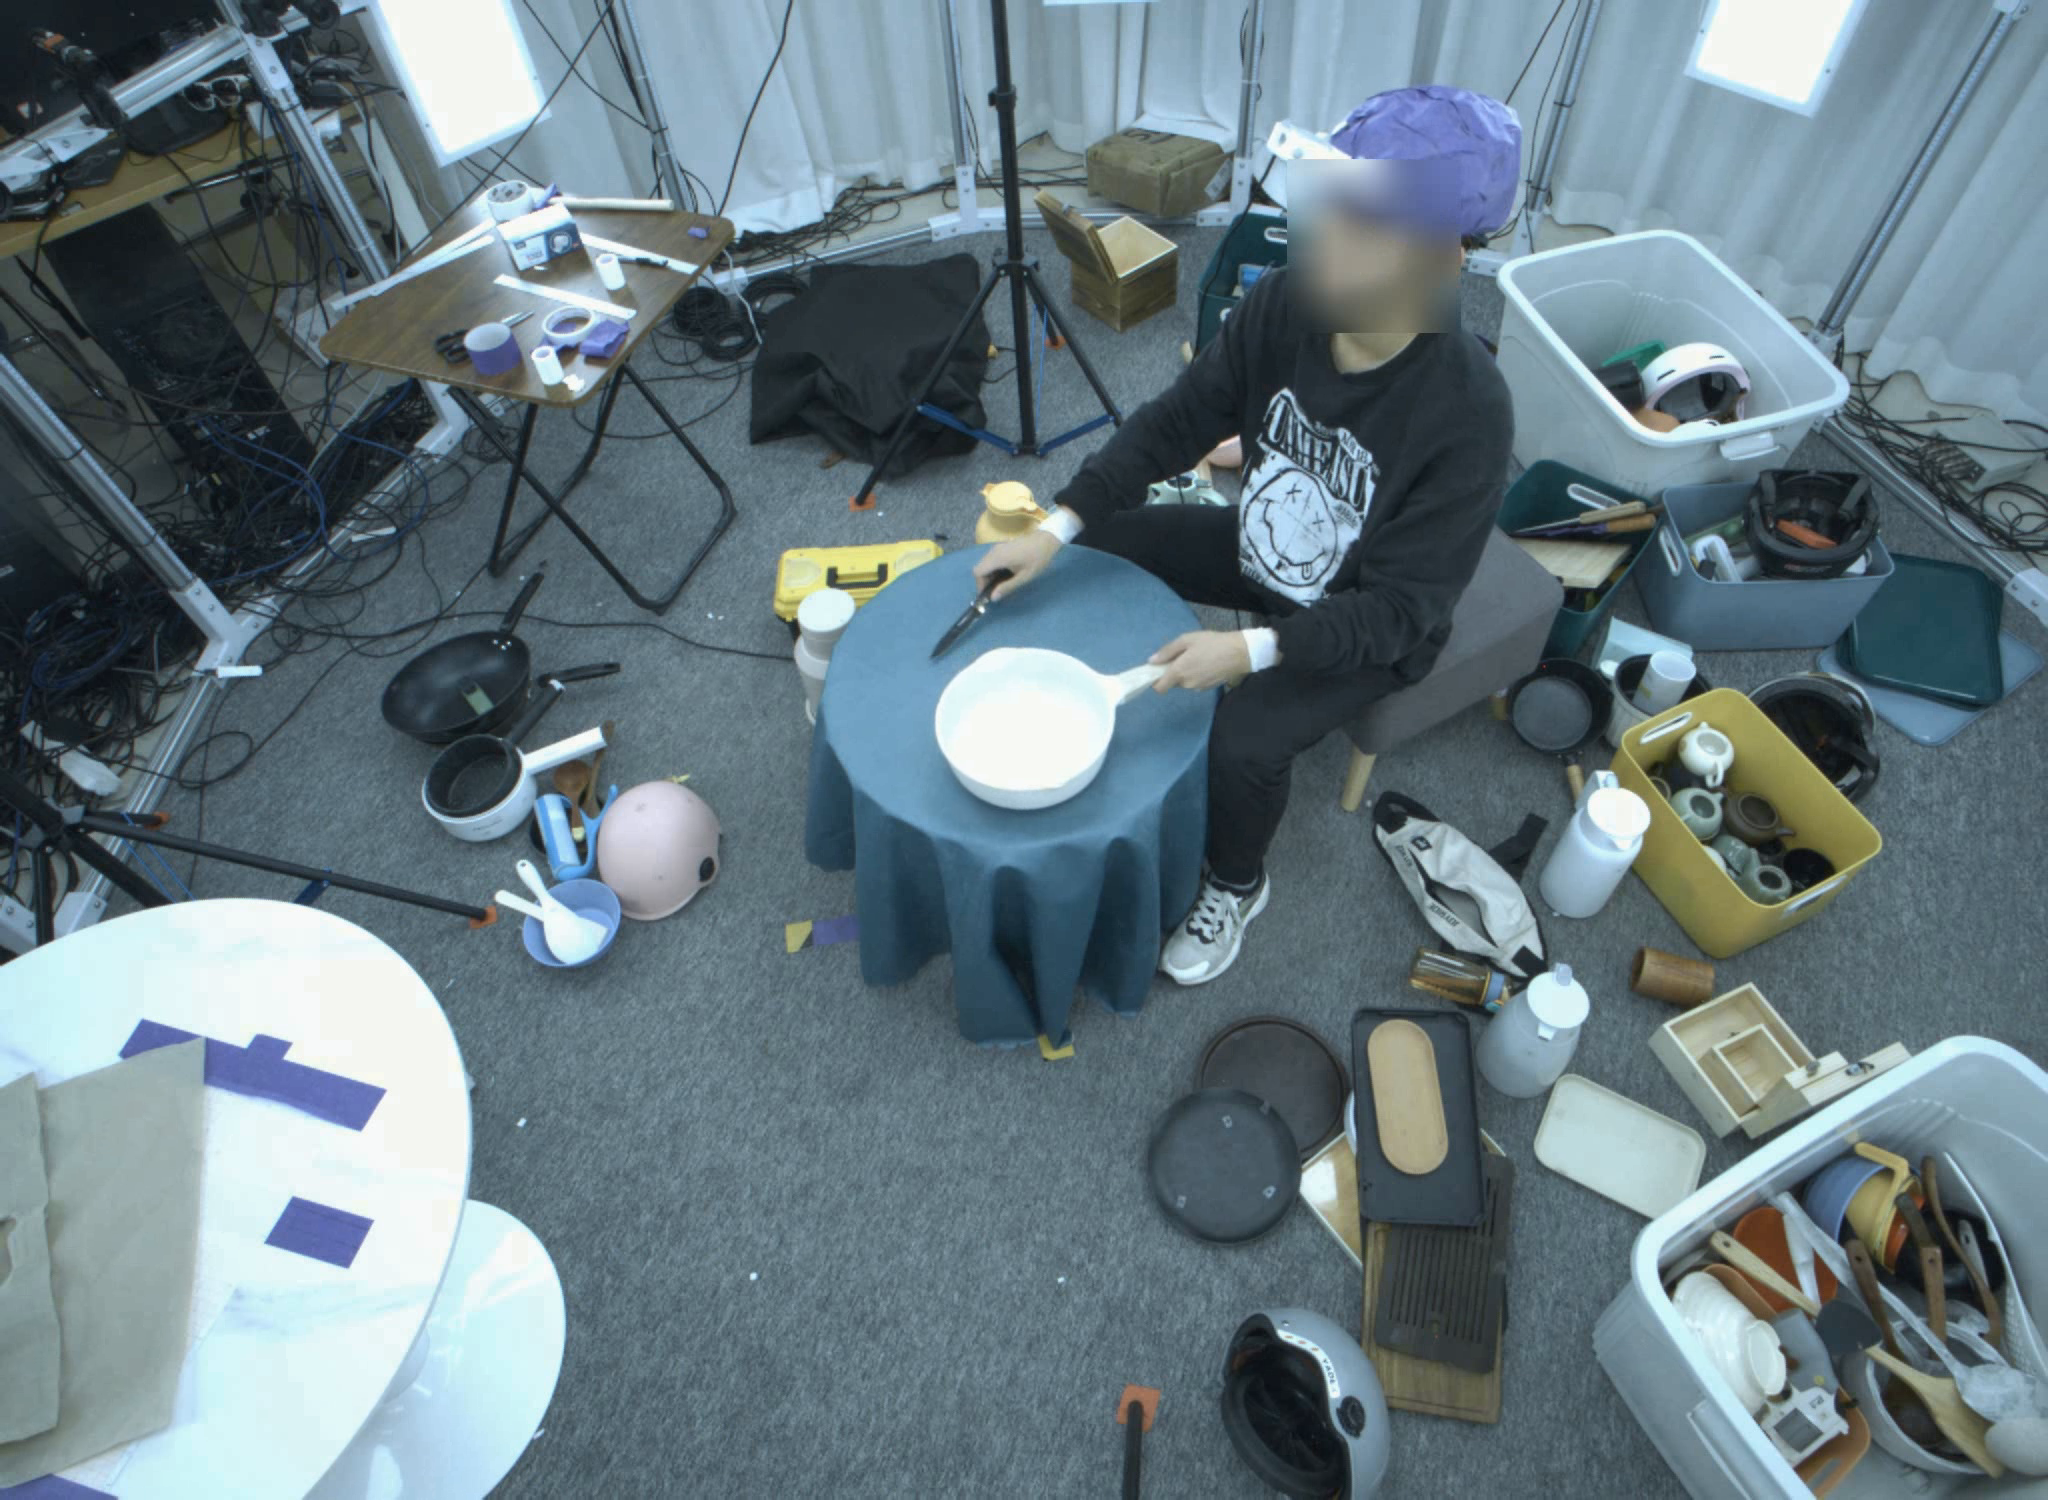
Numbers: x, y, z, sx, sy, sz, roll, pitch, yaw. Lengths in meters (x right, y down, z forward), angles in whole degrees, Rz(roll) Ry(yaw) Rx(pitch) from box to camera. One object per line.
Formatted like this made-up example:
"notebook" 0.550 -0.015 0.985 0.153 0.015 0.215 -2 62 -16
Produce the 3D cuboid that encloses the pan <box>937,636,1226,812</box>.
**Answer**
"pan" 0.091 -0.055 1.759 0.438 0.103 0.258 -19 54 -12

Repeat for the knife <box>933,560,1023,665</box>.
"knife" -0.074 -0.216 1.906 0.026 0.017 0.226 40 71 -1
